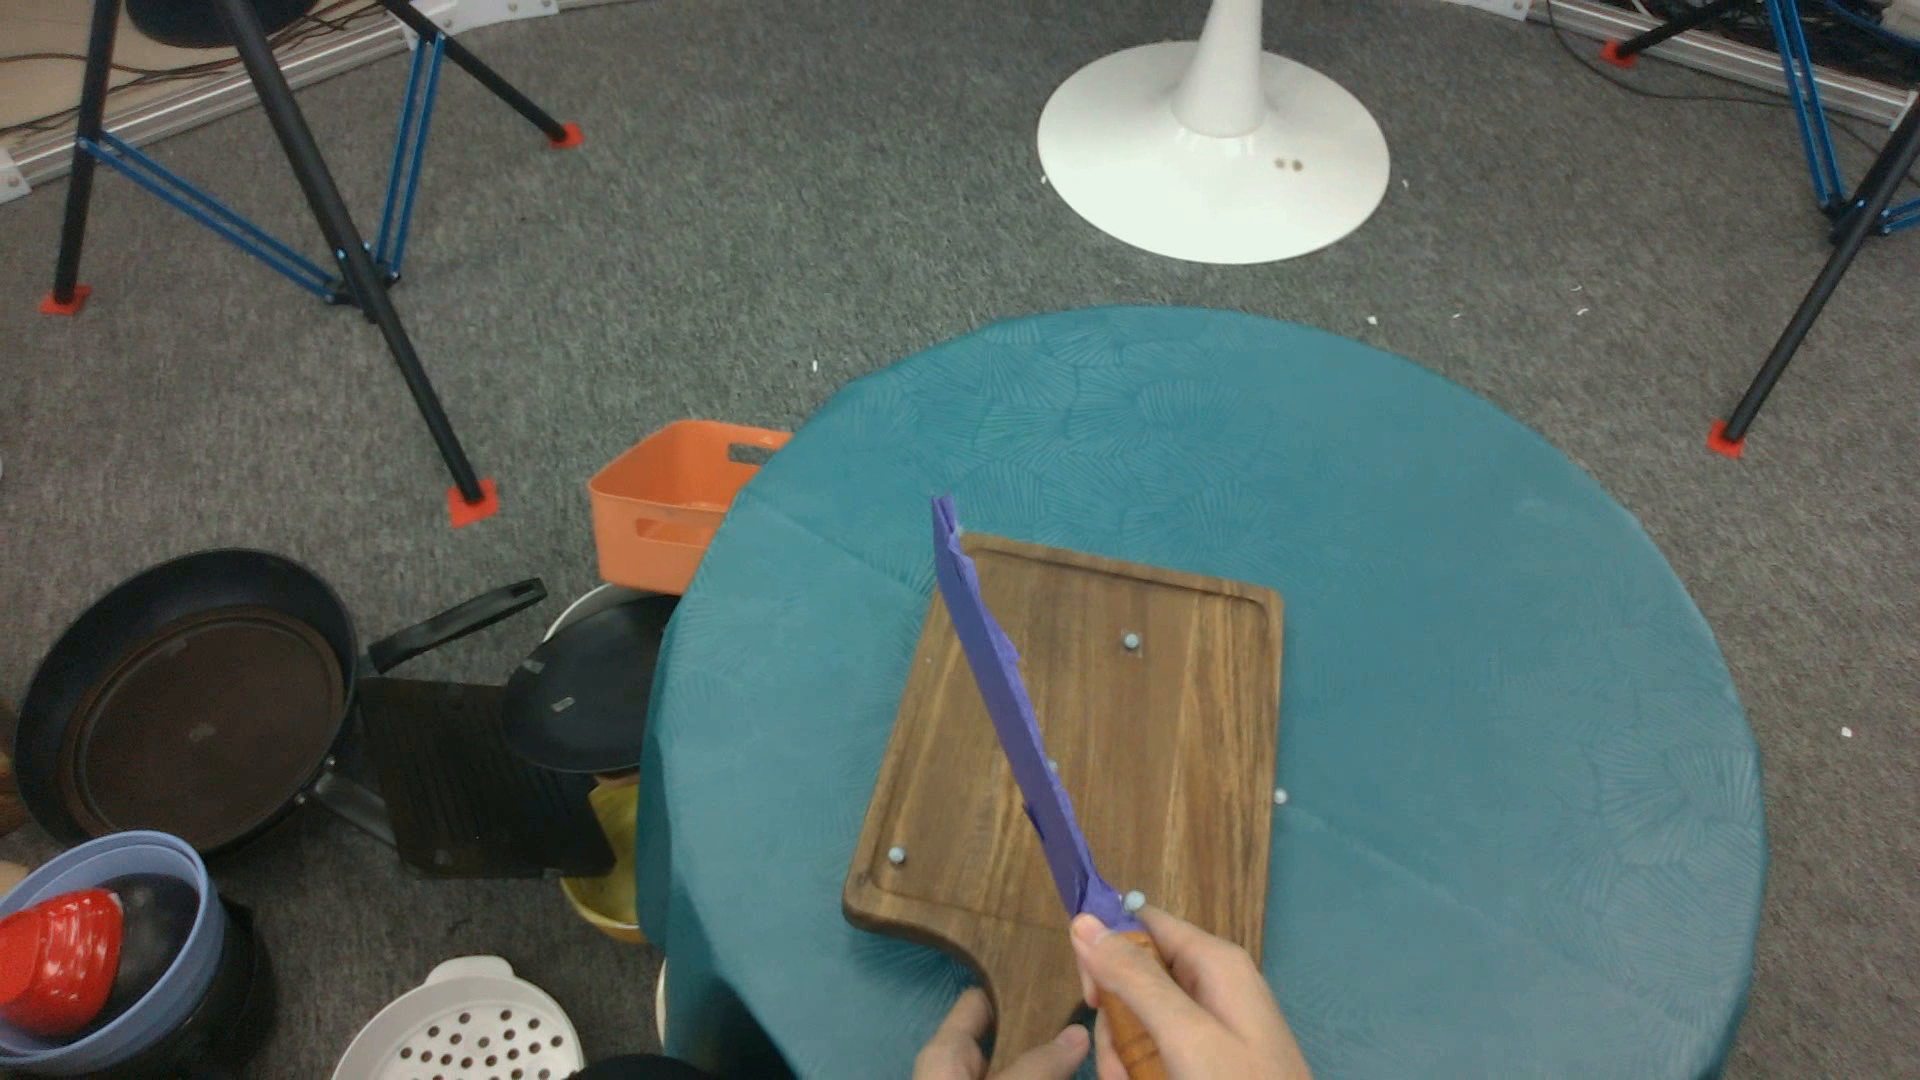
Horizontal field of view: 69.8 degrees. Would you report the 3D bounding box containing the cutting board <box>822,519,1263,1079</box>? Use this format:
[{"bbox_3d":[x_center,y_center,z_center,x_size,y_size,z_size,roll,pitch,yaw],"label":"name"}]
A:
[{"bbox_3d":[0.044,0.134,0.685,0.201,0.023,0.354,11,48,5],"label":"cutting board"}]

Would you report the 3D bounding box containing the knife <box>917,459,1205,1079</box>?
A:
[{"bbox_3d":[0.036,0.112,0.601,0.032,0.103,0.316,-16,60,-8],"label":"knife"}]
